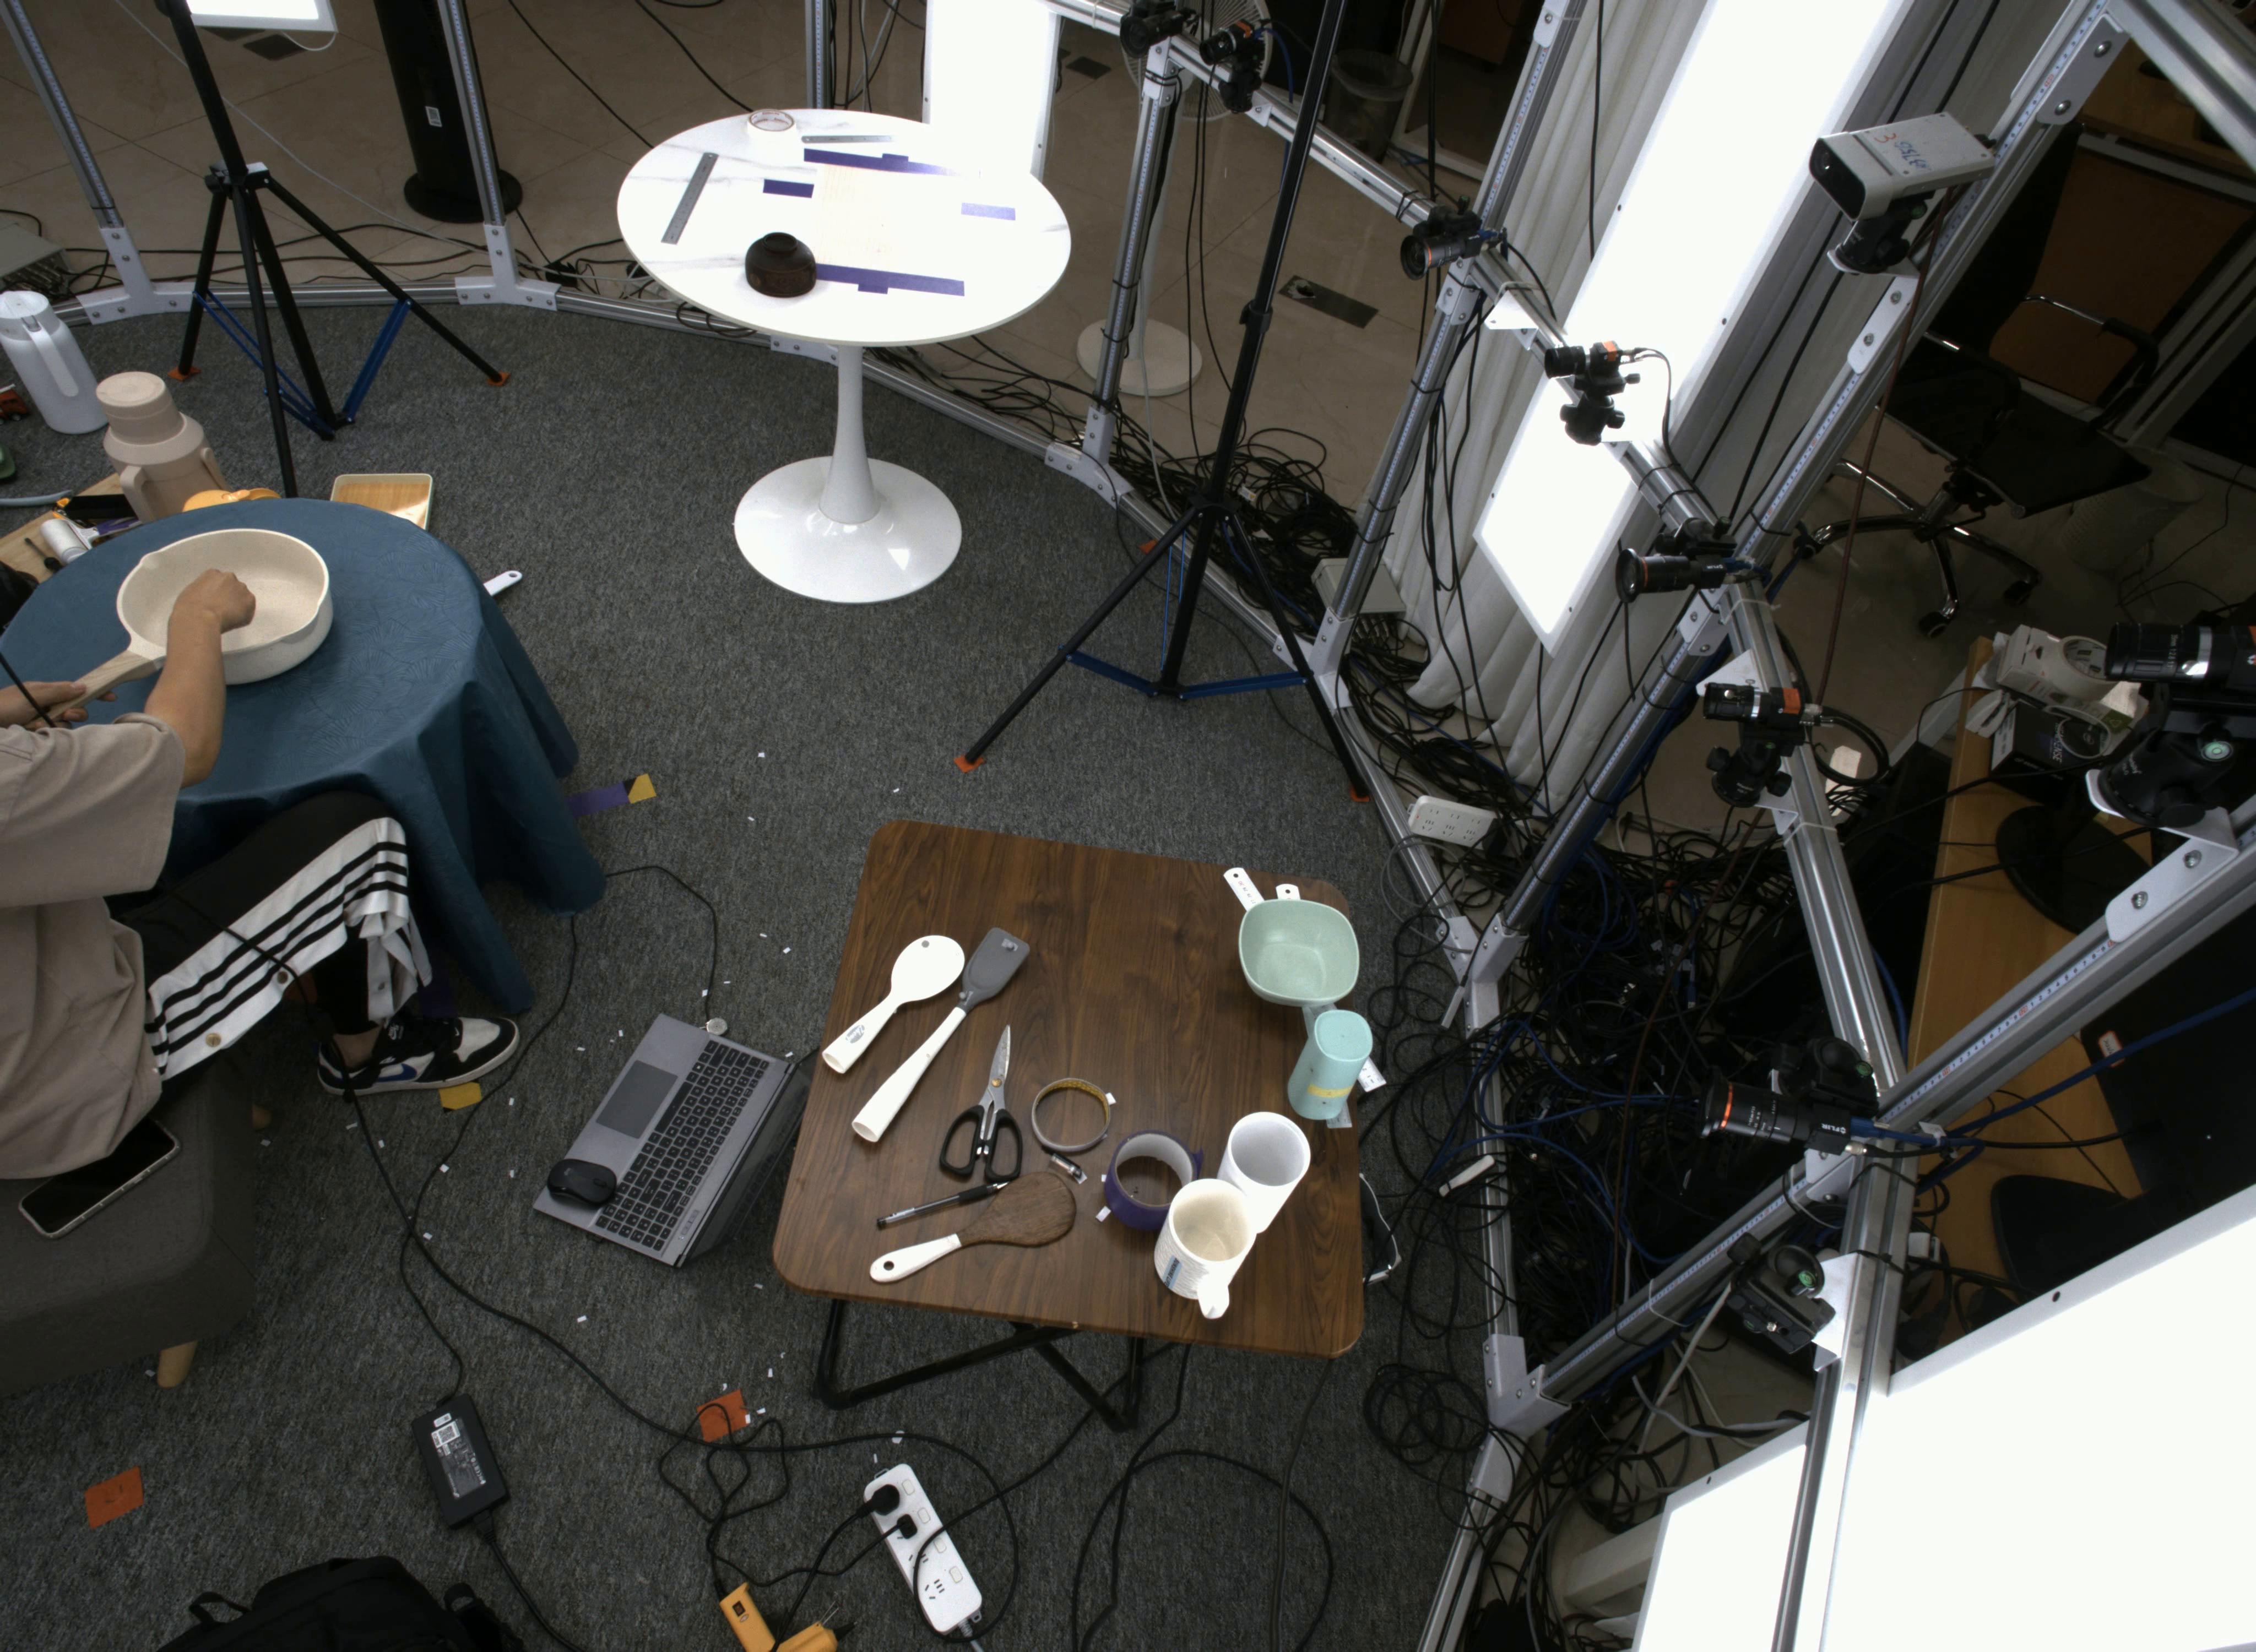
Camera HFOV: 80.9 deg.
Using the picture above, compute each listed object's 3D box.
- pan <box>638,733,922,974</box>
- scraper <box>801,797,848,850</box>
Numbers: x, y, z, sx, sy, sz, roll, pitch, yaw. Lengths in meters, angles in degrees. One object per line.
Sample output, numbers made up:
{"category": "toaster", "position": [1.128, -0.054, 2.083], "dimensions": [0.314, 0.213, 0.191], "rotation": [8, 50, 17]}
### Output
{"category": "pan", "position": [-0.446, 0.053, 1.630], "dimensions": [0.259, 0.104, 0.434], "rotation": [35, 54, 11]}
{"category": "scraper", "position": [-0.377, -0.005, 1.616], "dimensions": [0.039, 0.015, 0.165], "rotation": [9, 16, -26]}
